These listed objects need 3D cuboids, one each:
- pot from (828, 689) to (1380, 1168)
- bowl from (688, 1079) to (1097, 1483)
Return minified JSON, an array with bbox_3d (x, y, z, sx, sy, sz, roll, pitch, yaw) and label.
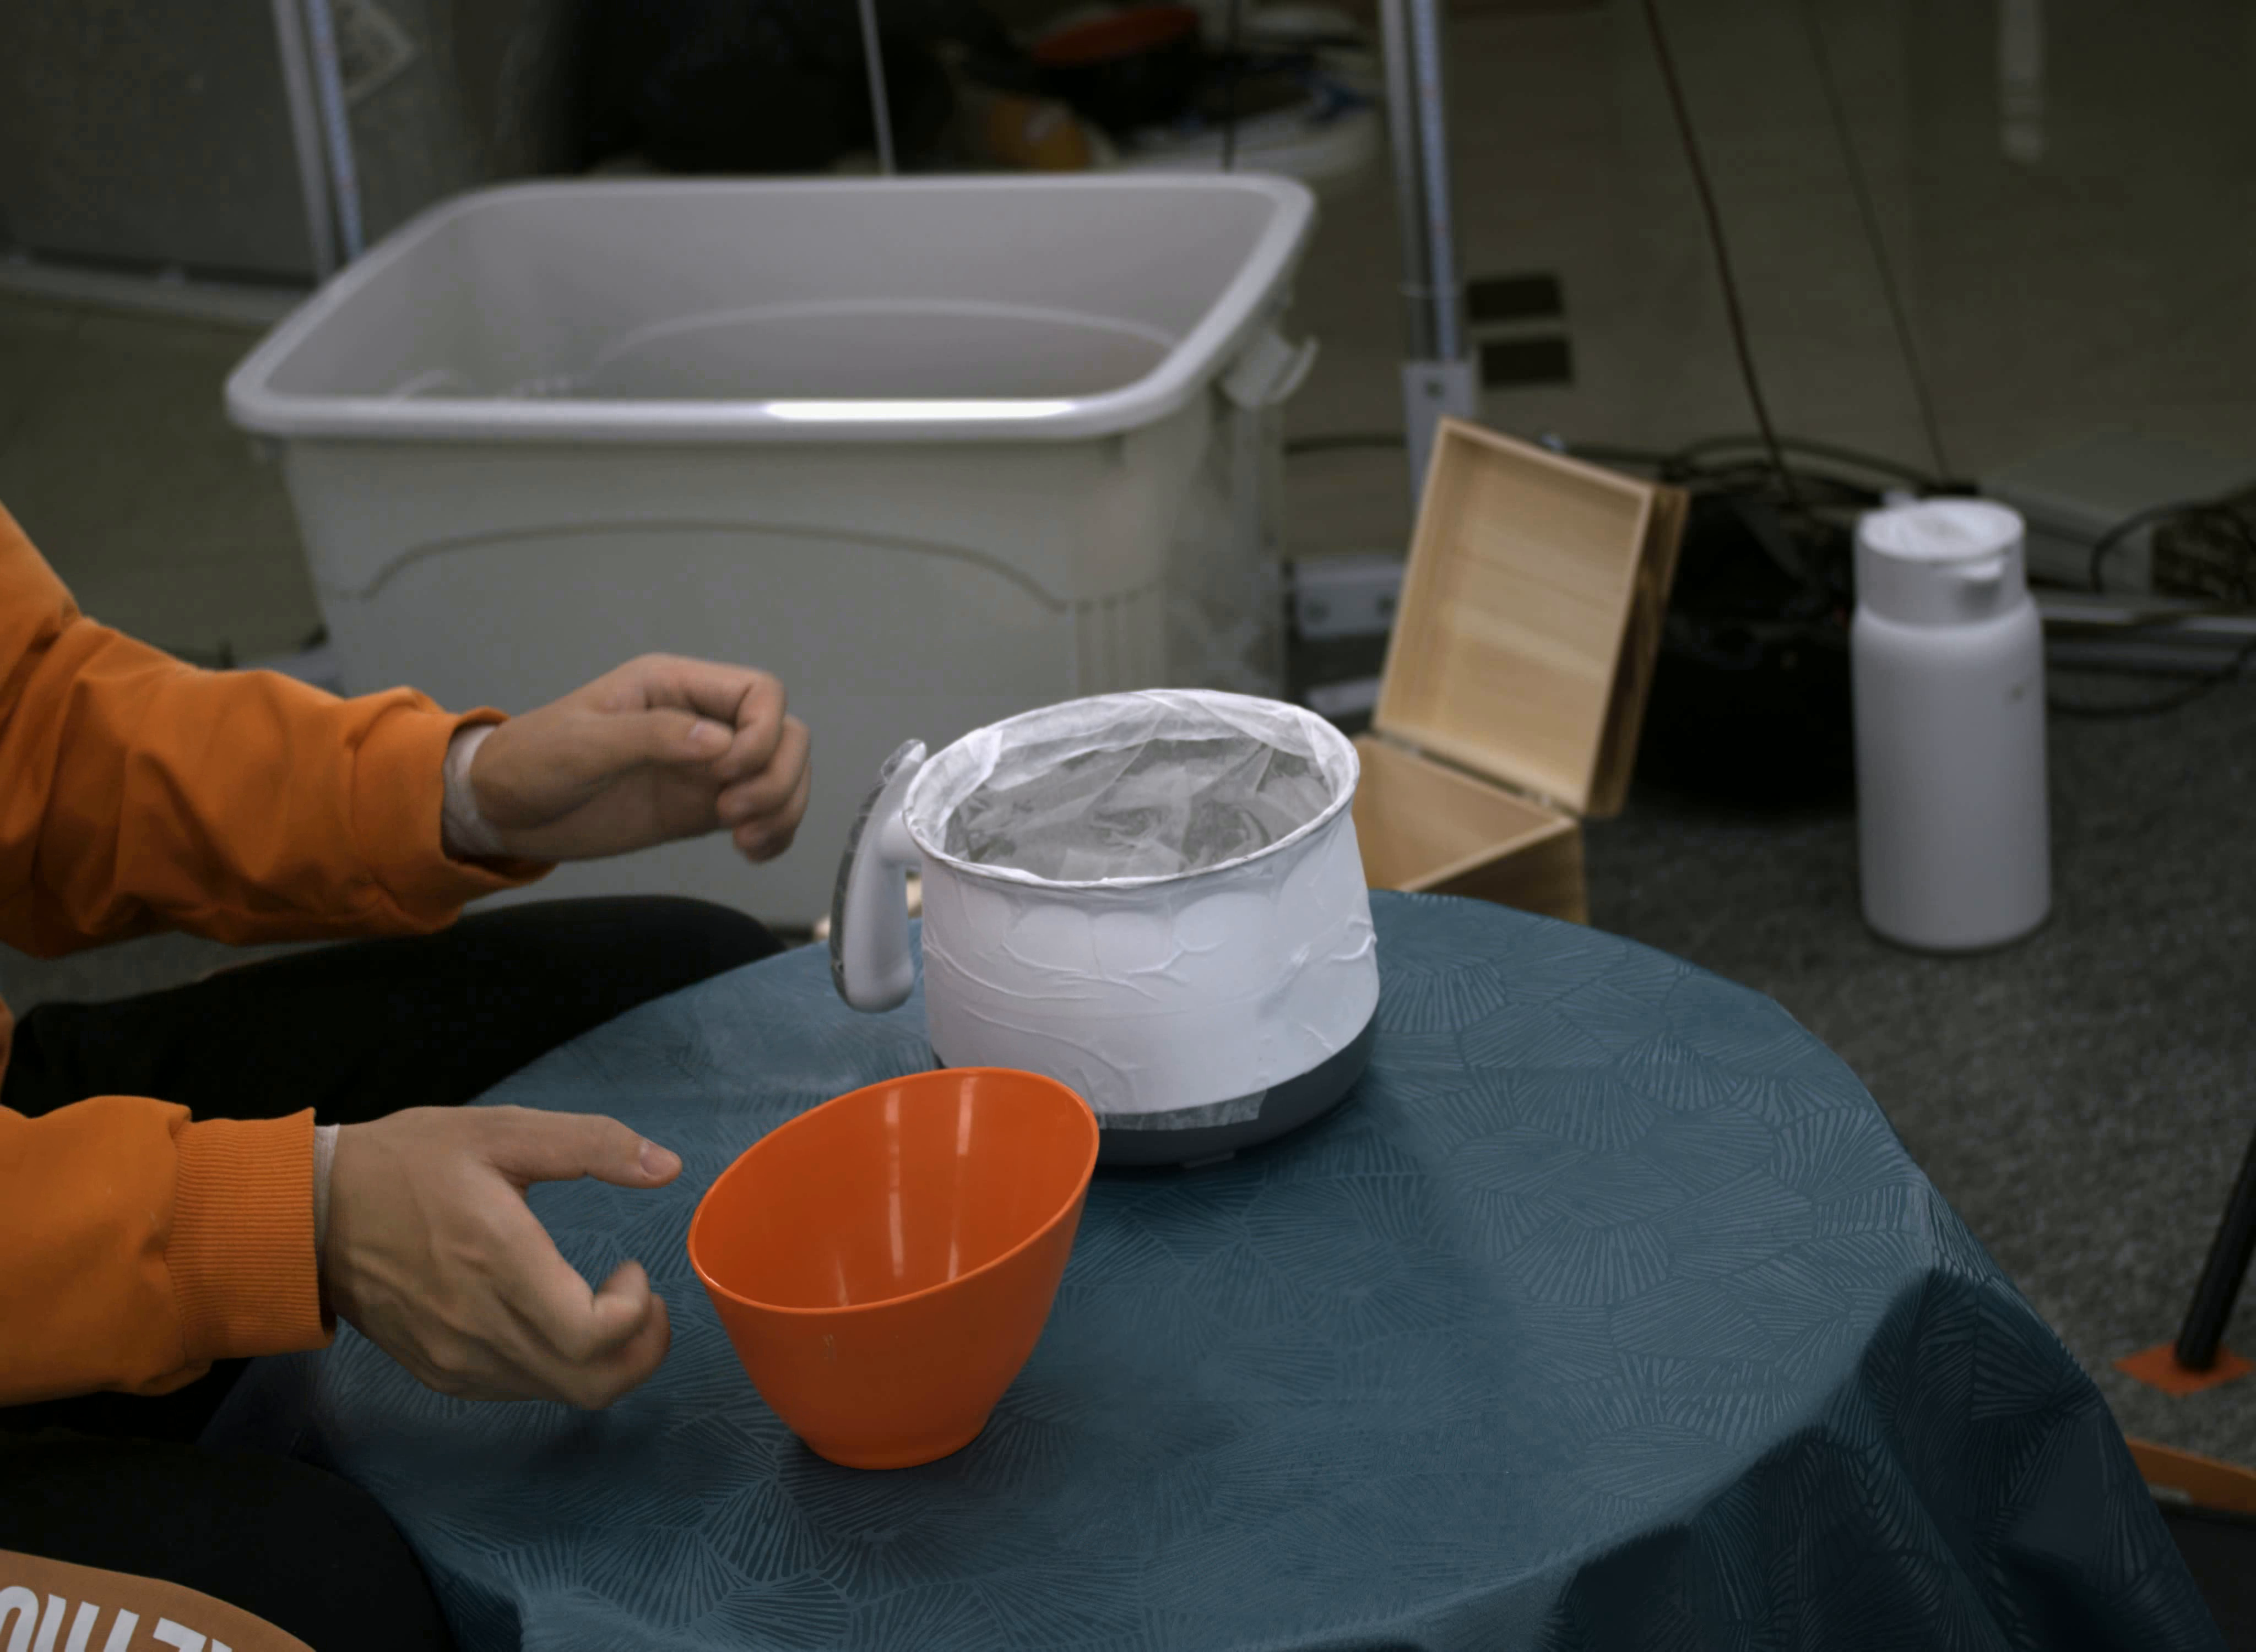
[{"bbox_3d":[-0.017,0.038,2.203,0.233,0.139,0.176,8,29,28],"label":"pot"},{"bbox_3d":[-0.076,0.166,1.994,0.148,0.106,0.146,-7,26,3],"label":"bowl"}]
